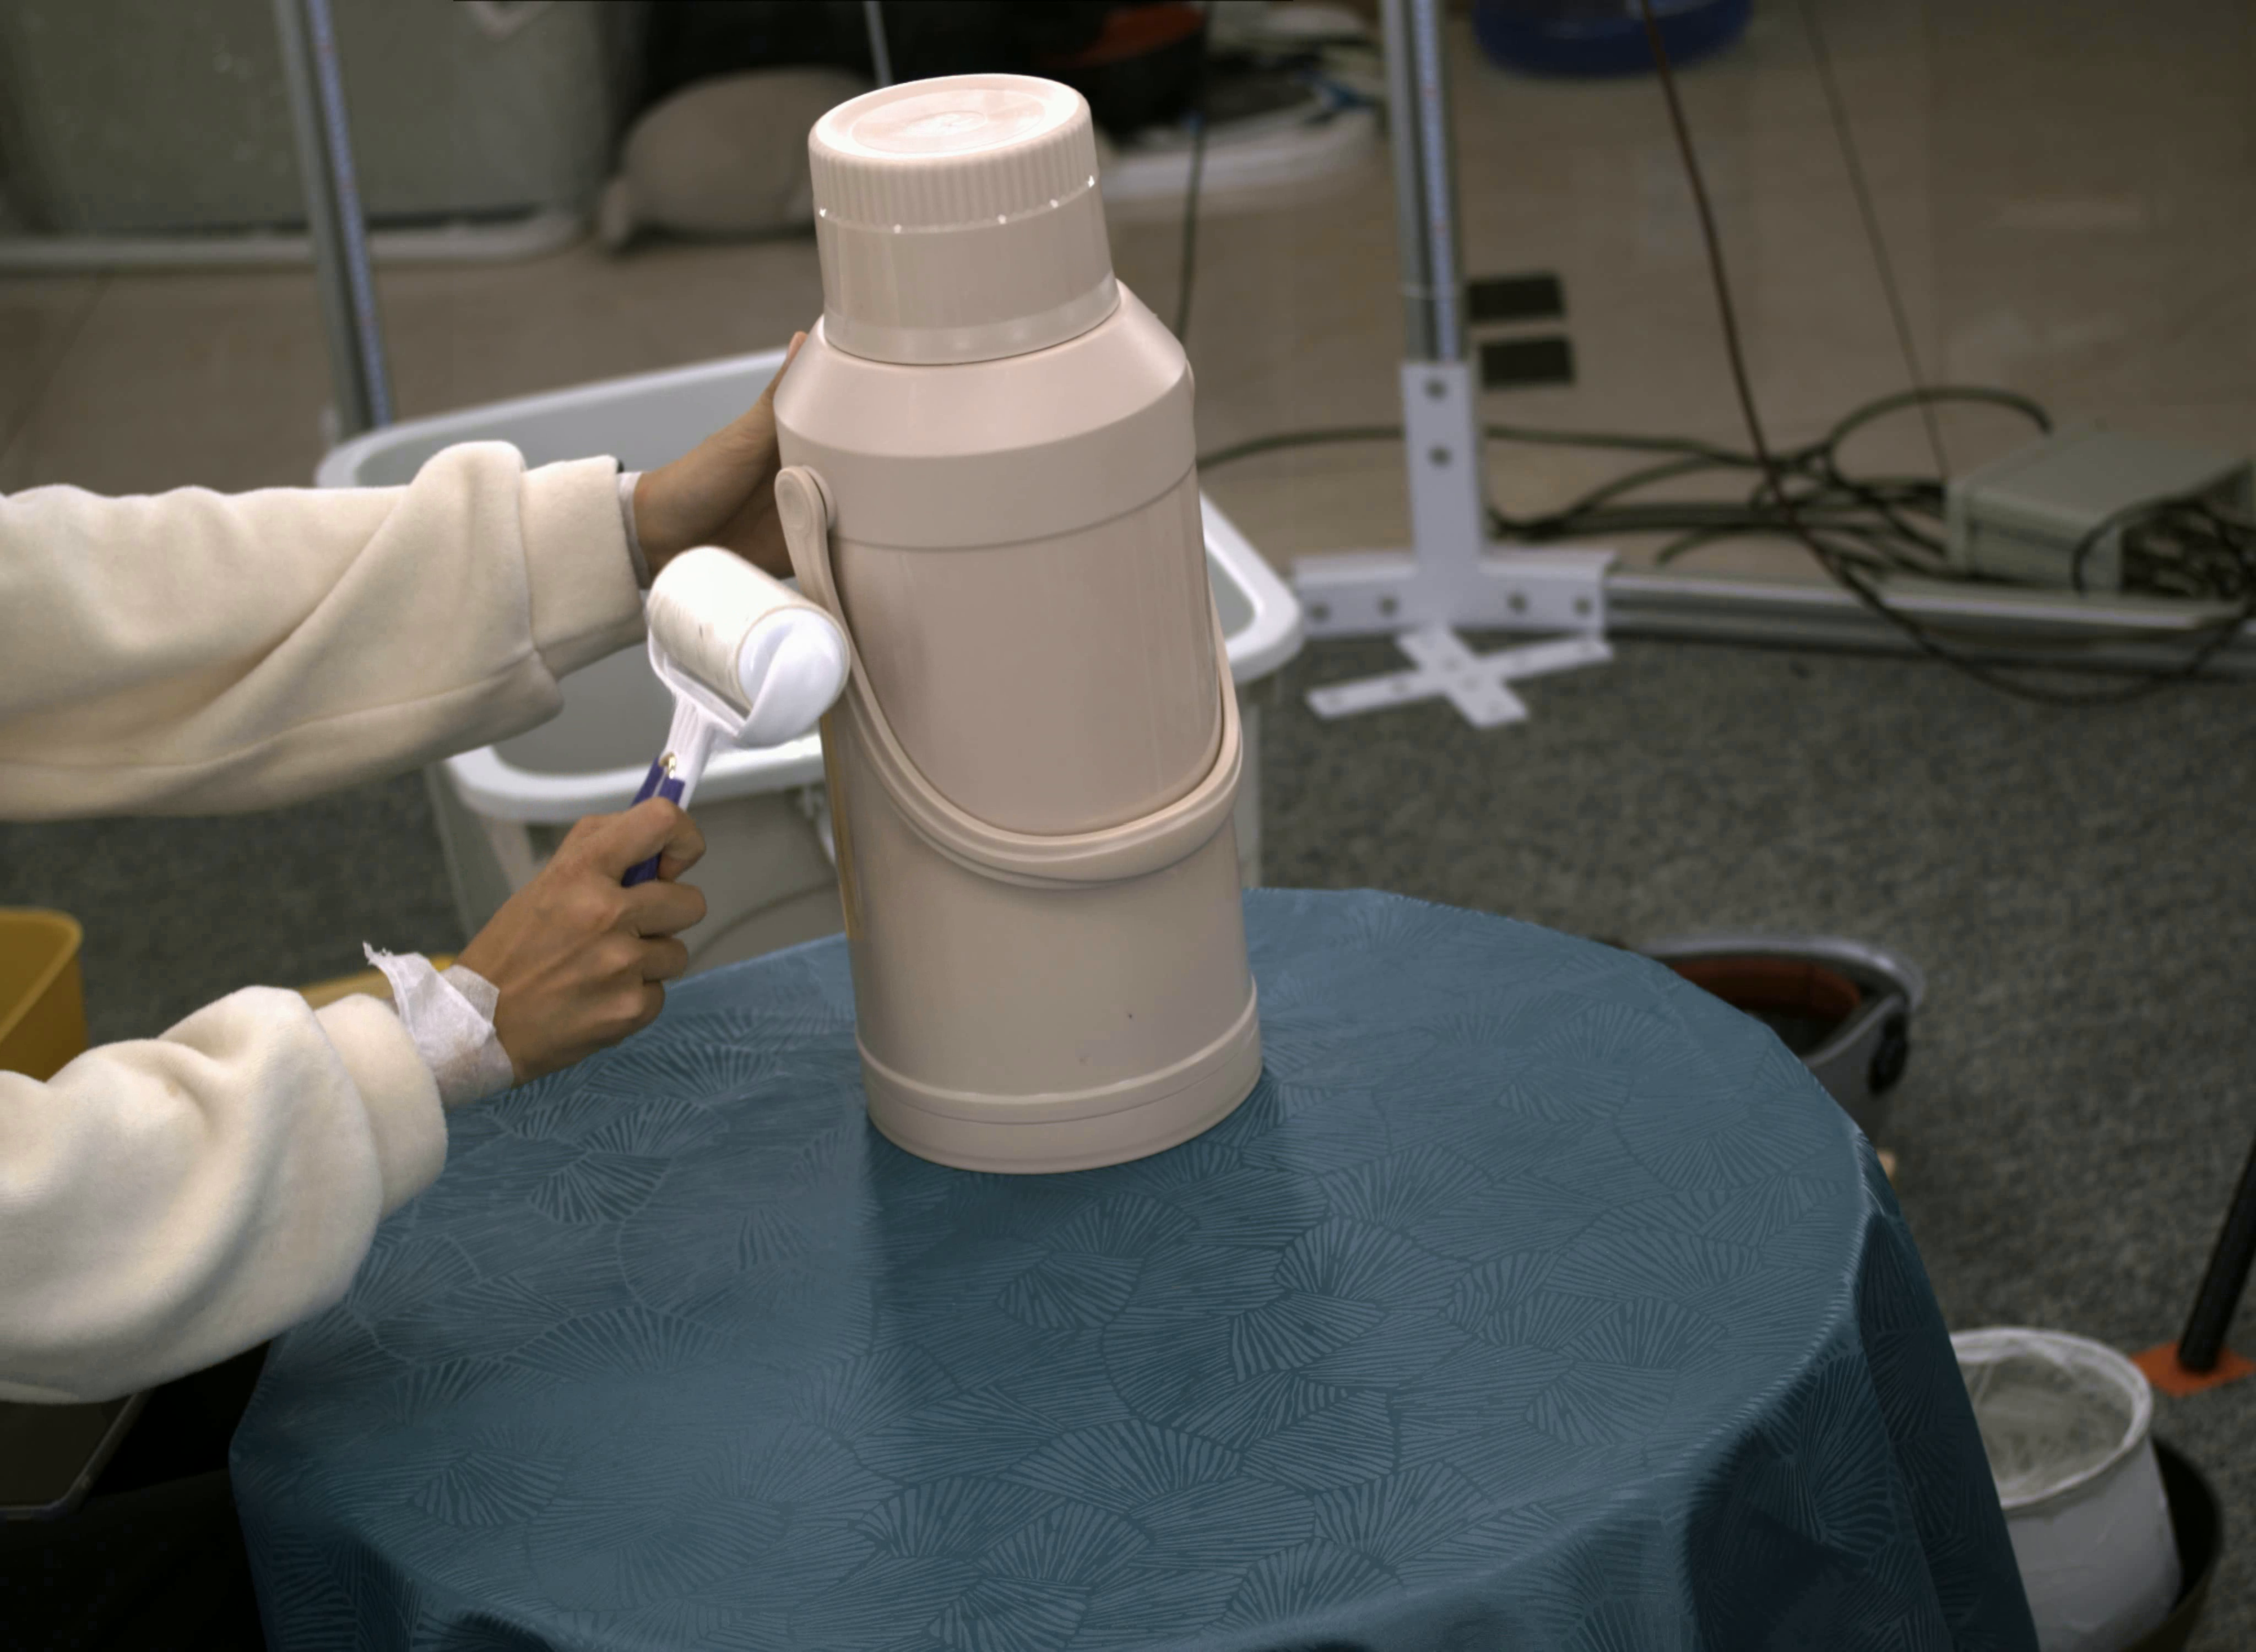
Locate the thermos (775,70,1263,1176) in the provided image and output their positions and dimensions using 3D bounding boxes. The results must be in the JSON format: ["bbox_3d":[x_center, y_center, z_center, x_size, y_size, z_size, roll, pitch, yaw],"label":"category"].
[{"bbox_3d":[-0.052,-0.082,2.159,0.174,0.413,0.205,-23,30,-29],"label":"thermos"}]

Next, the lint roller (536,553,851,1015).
[{"bbox_3d":[-0.180,-0.015,2.104,0.181,0.050,0.131,-54,30,1],"label":"lint roller"}]
